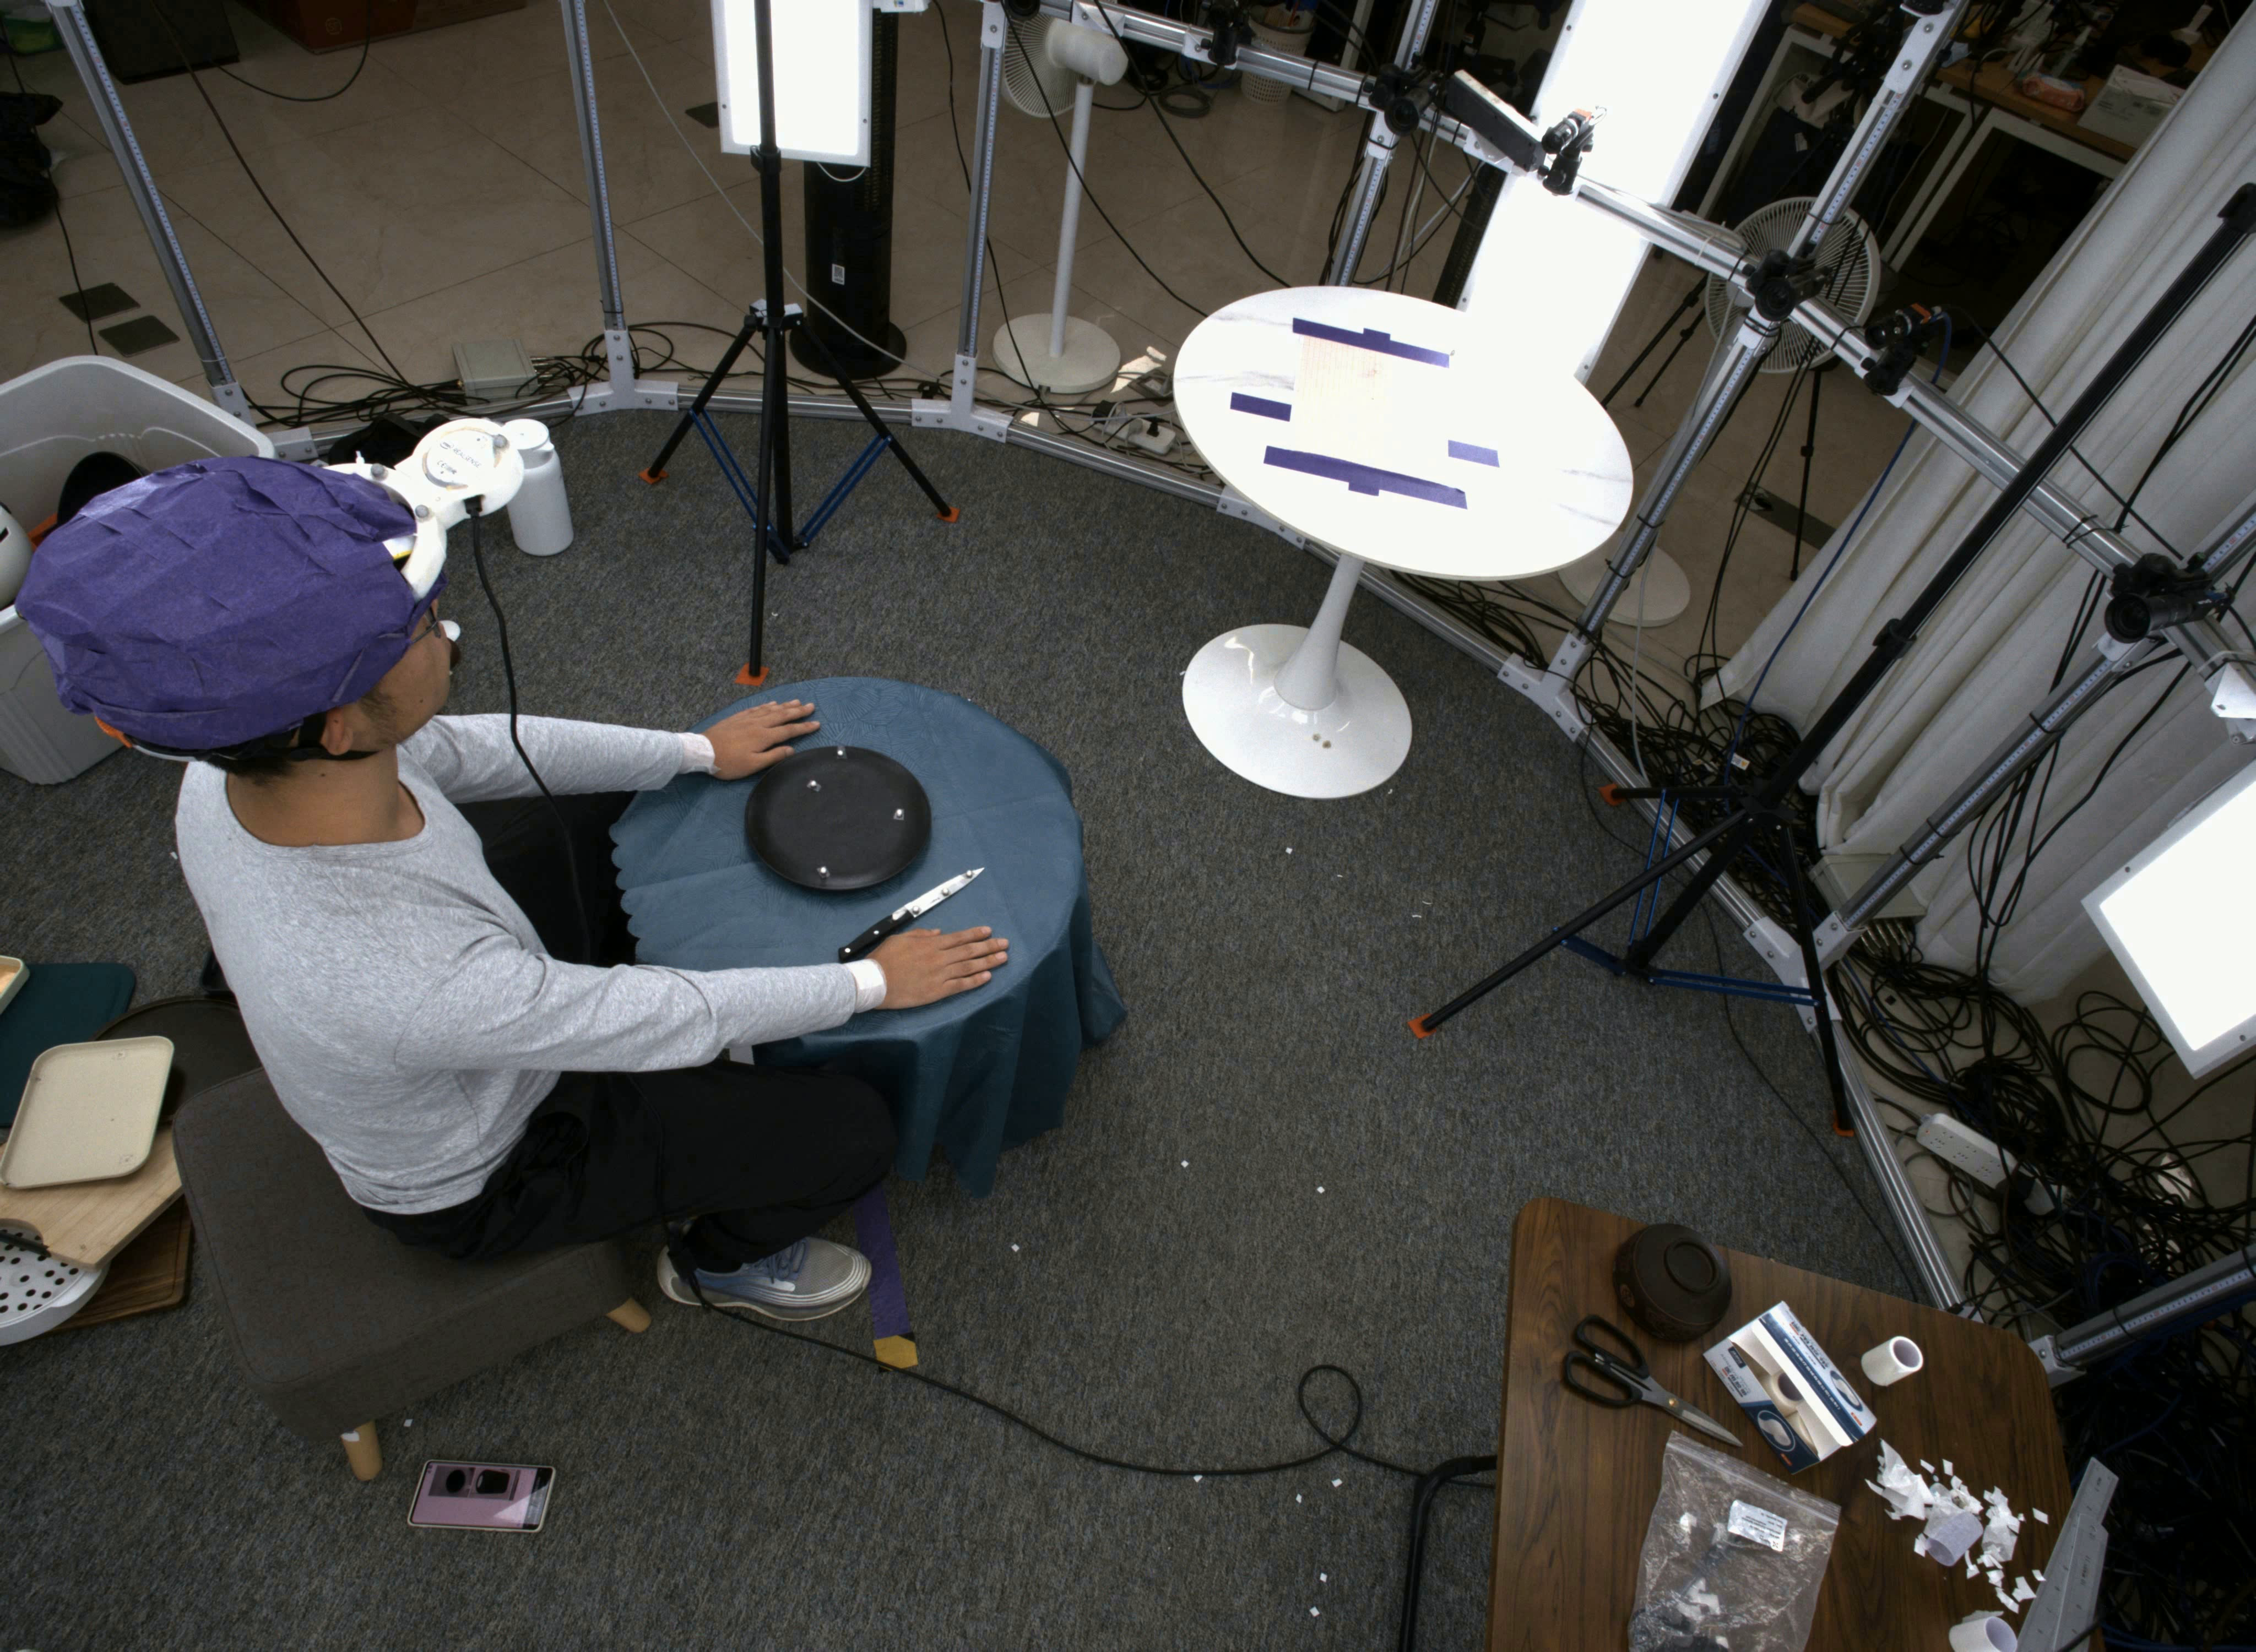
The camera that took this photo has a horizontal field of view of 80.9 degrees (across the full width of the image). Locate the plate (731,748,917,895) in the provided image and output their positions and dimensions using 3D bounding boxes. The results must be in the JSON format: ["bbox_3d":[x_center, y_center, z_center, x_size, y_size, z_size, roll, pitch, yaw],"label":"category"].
[{"bbox_3d":[-0.404,-0.006,1.730,0.244,0.024,0.240,8,53,-9],"label":"plate"}]

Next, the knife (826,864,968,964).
[{"bbox_3d":[-0.292,0.109,1.681,0.024,0.016,0.239,41,52,18],"label":"knife"}]
